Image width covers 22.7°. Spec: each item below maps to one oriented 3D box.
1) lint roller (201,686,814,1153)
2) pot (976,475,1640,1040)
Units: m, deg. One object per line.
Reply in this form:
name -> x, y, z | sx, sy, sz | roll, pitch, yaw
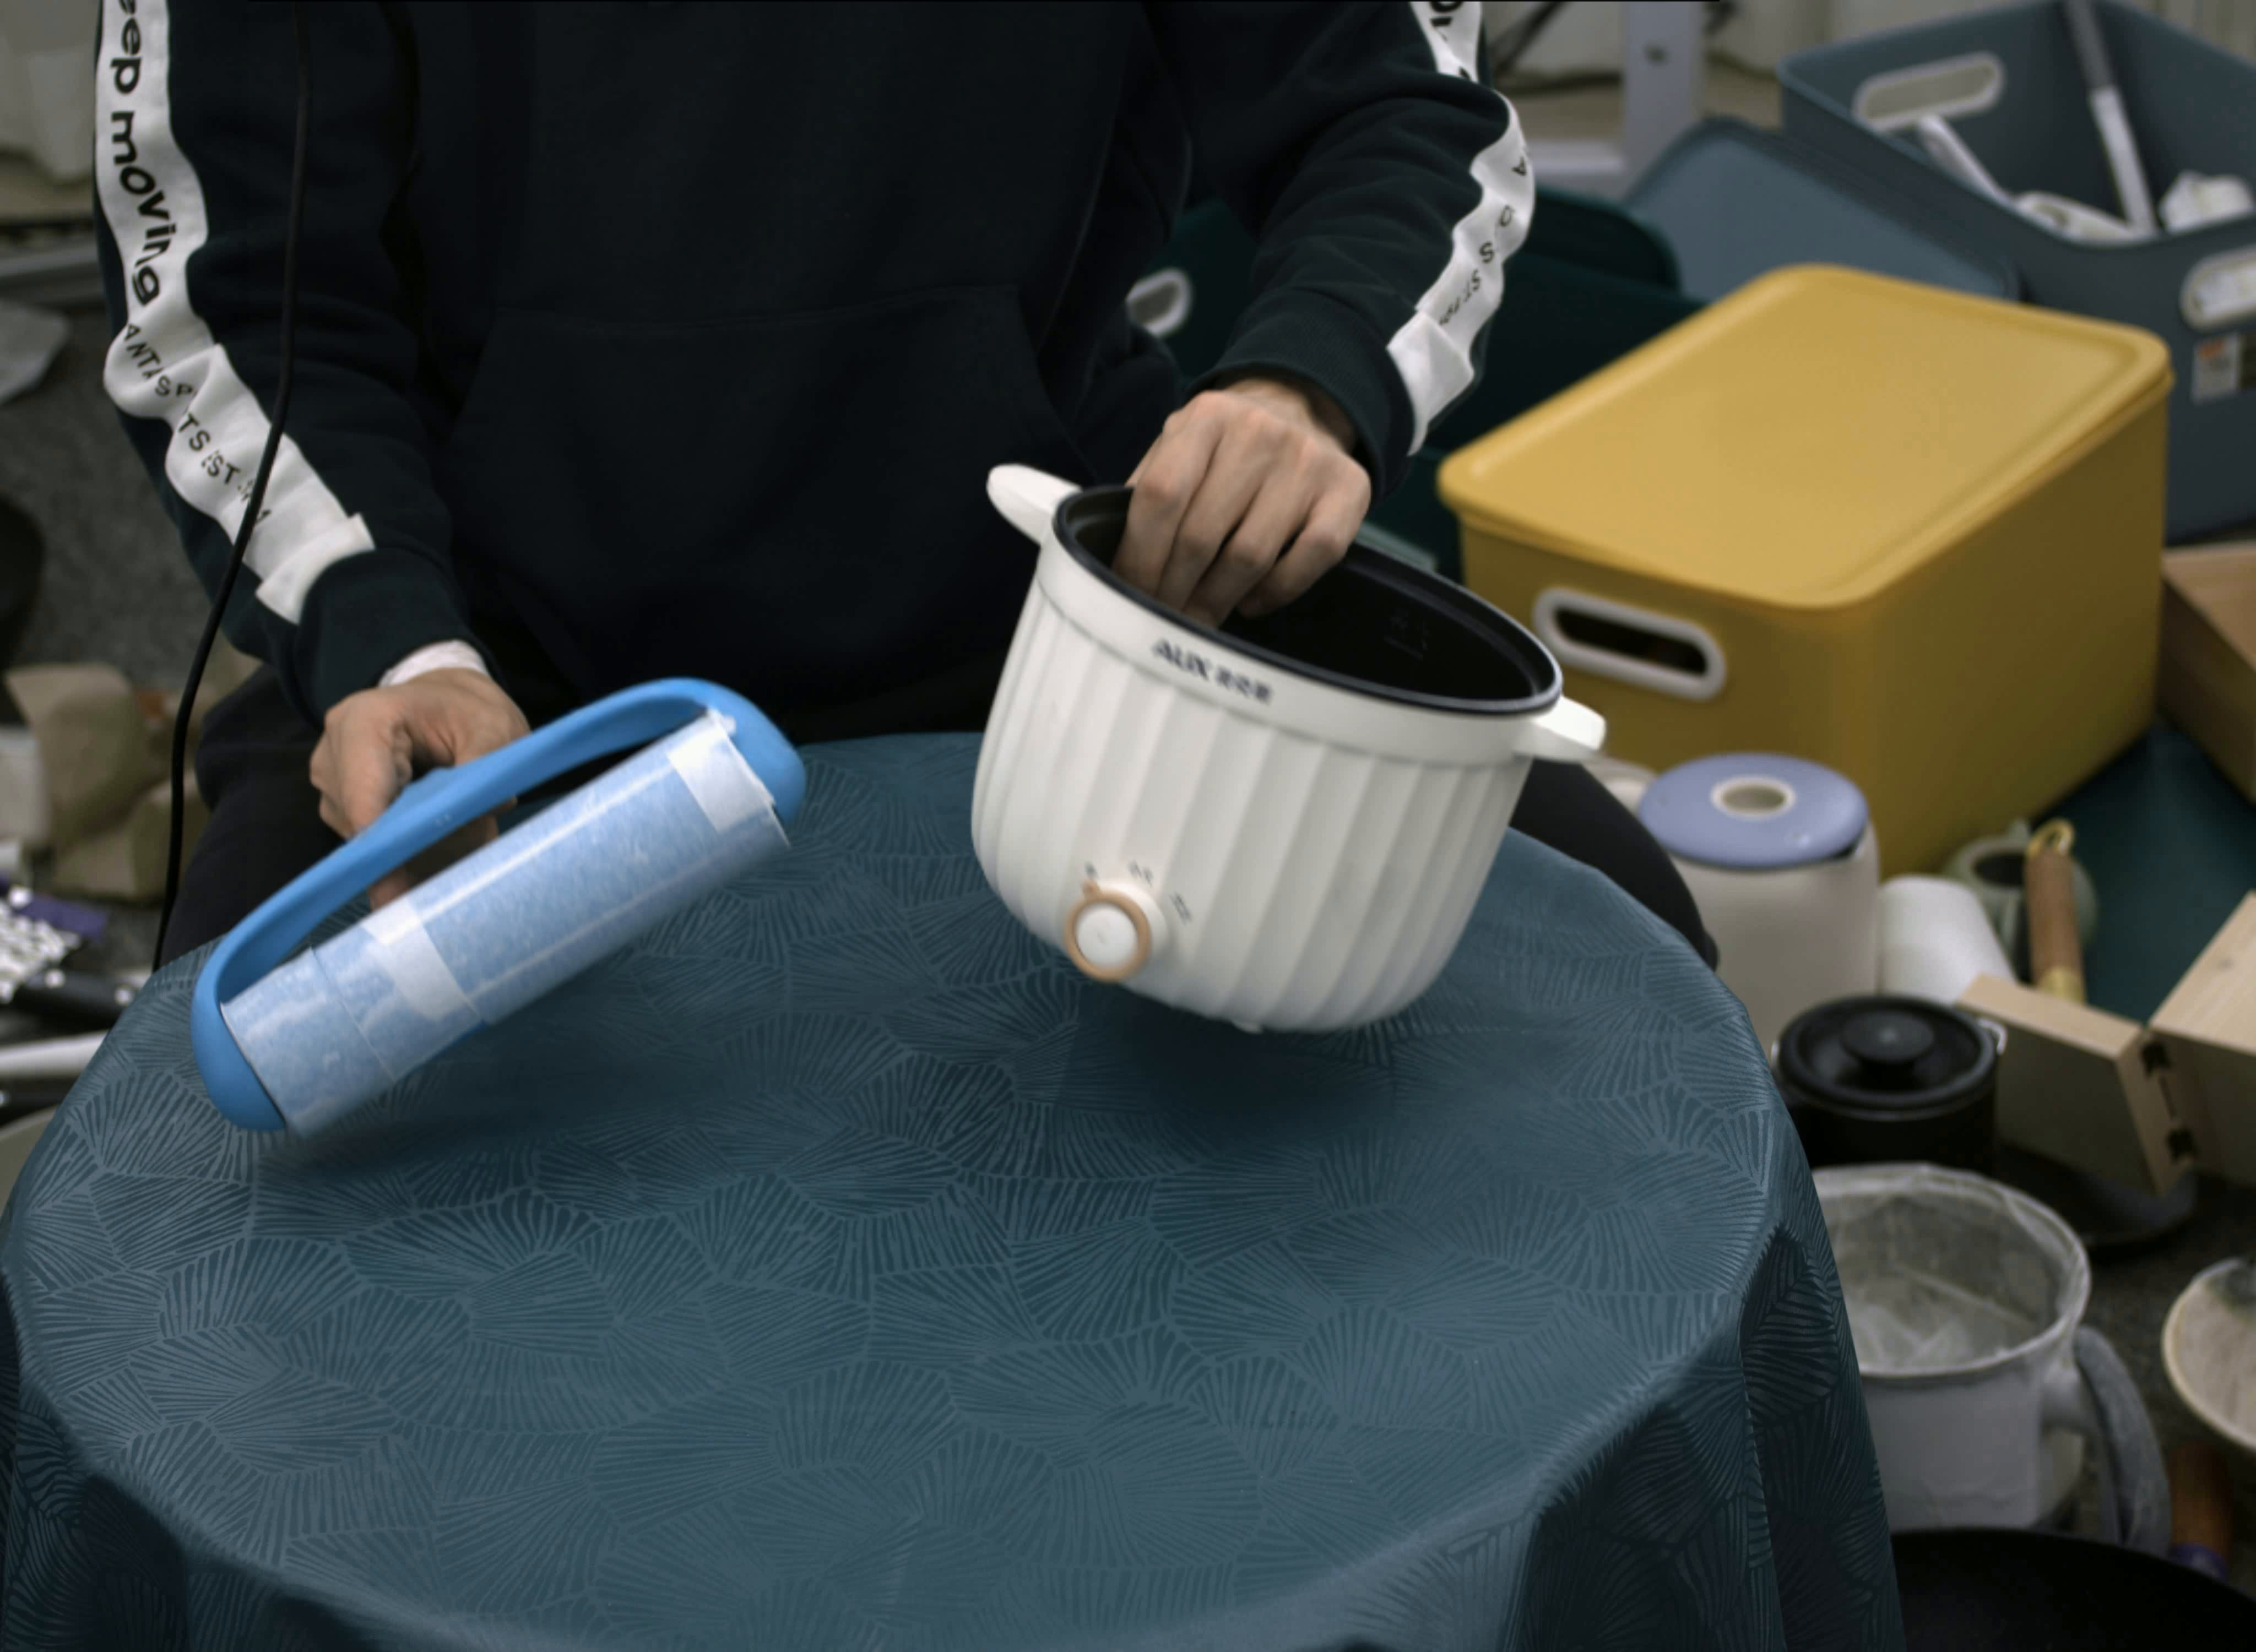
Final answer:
lint roller -> -0.228, 0.018, 1.942 | 0.230, 0.067, 0.181 | -34, 27, -9
pot -> 0.041, -0.014, 1.899 | 0.239, 0.142, 0.192 | 22, 14, 14
